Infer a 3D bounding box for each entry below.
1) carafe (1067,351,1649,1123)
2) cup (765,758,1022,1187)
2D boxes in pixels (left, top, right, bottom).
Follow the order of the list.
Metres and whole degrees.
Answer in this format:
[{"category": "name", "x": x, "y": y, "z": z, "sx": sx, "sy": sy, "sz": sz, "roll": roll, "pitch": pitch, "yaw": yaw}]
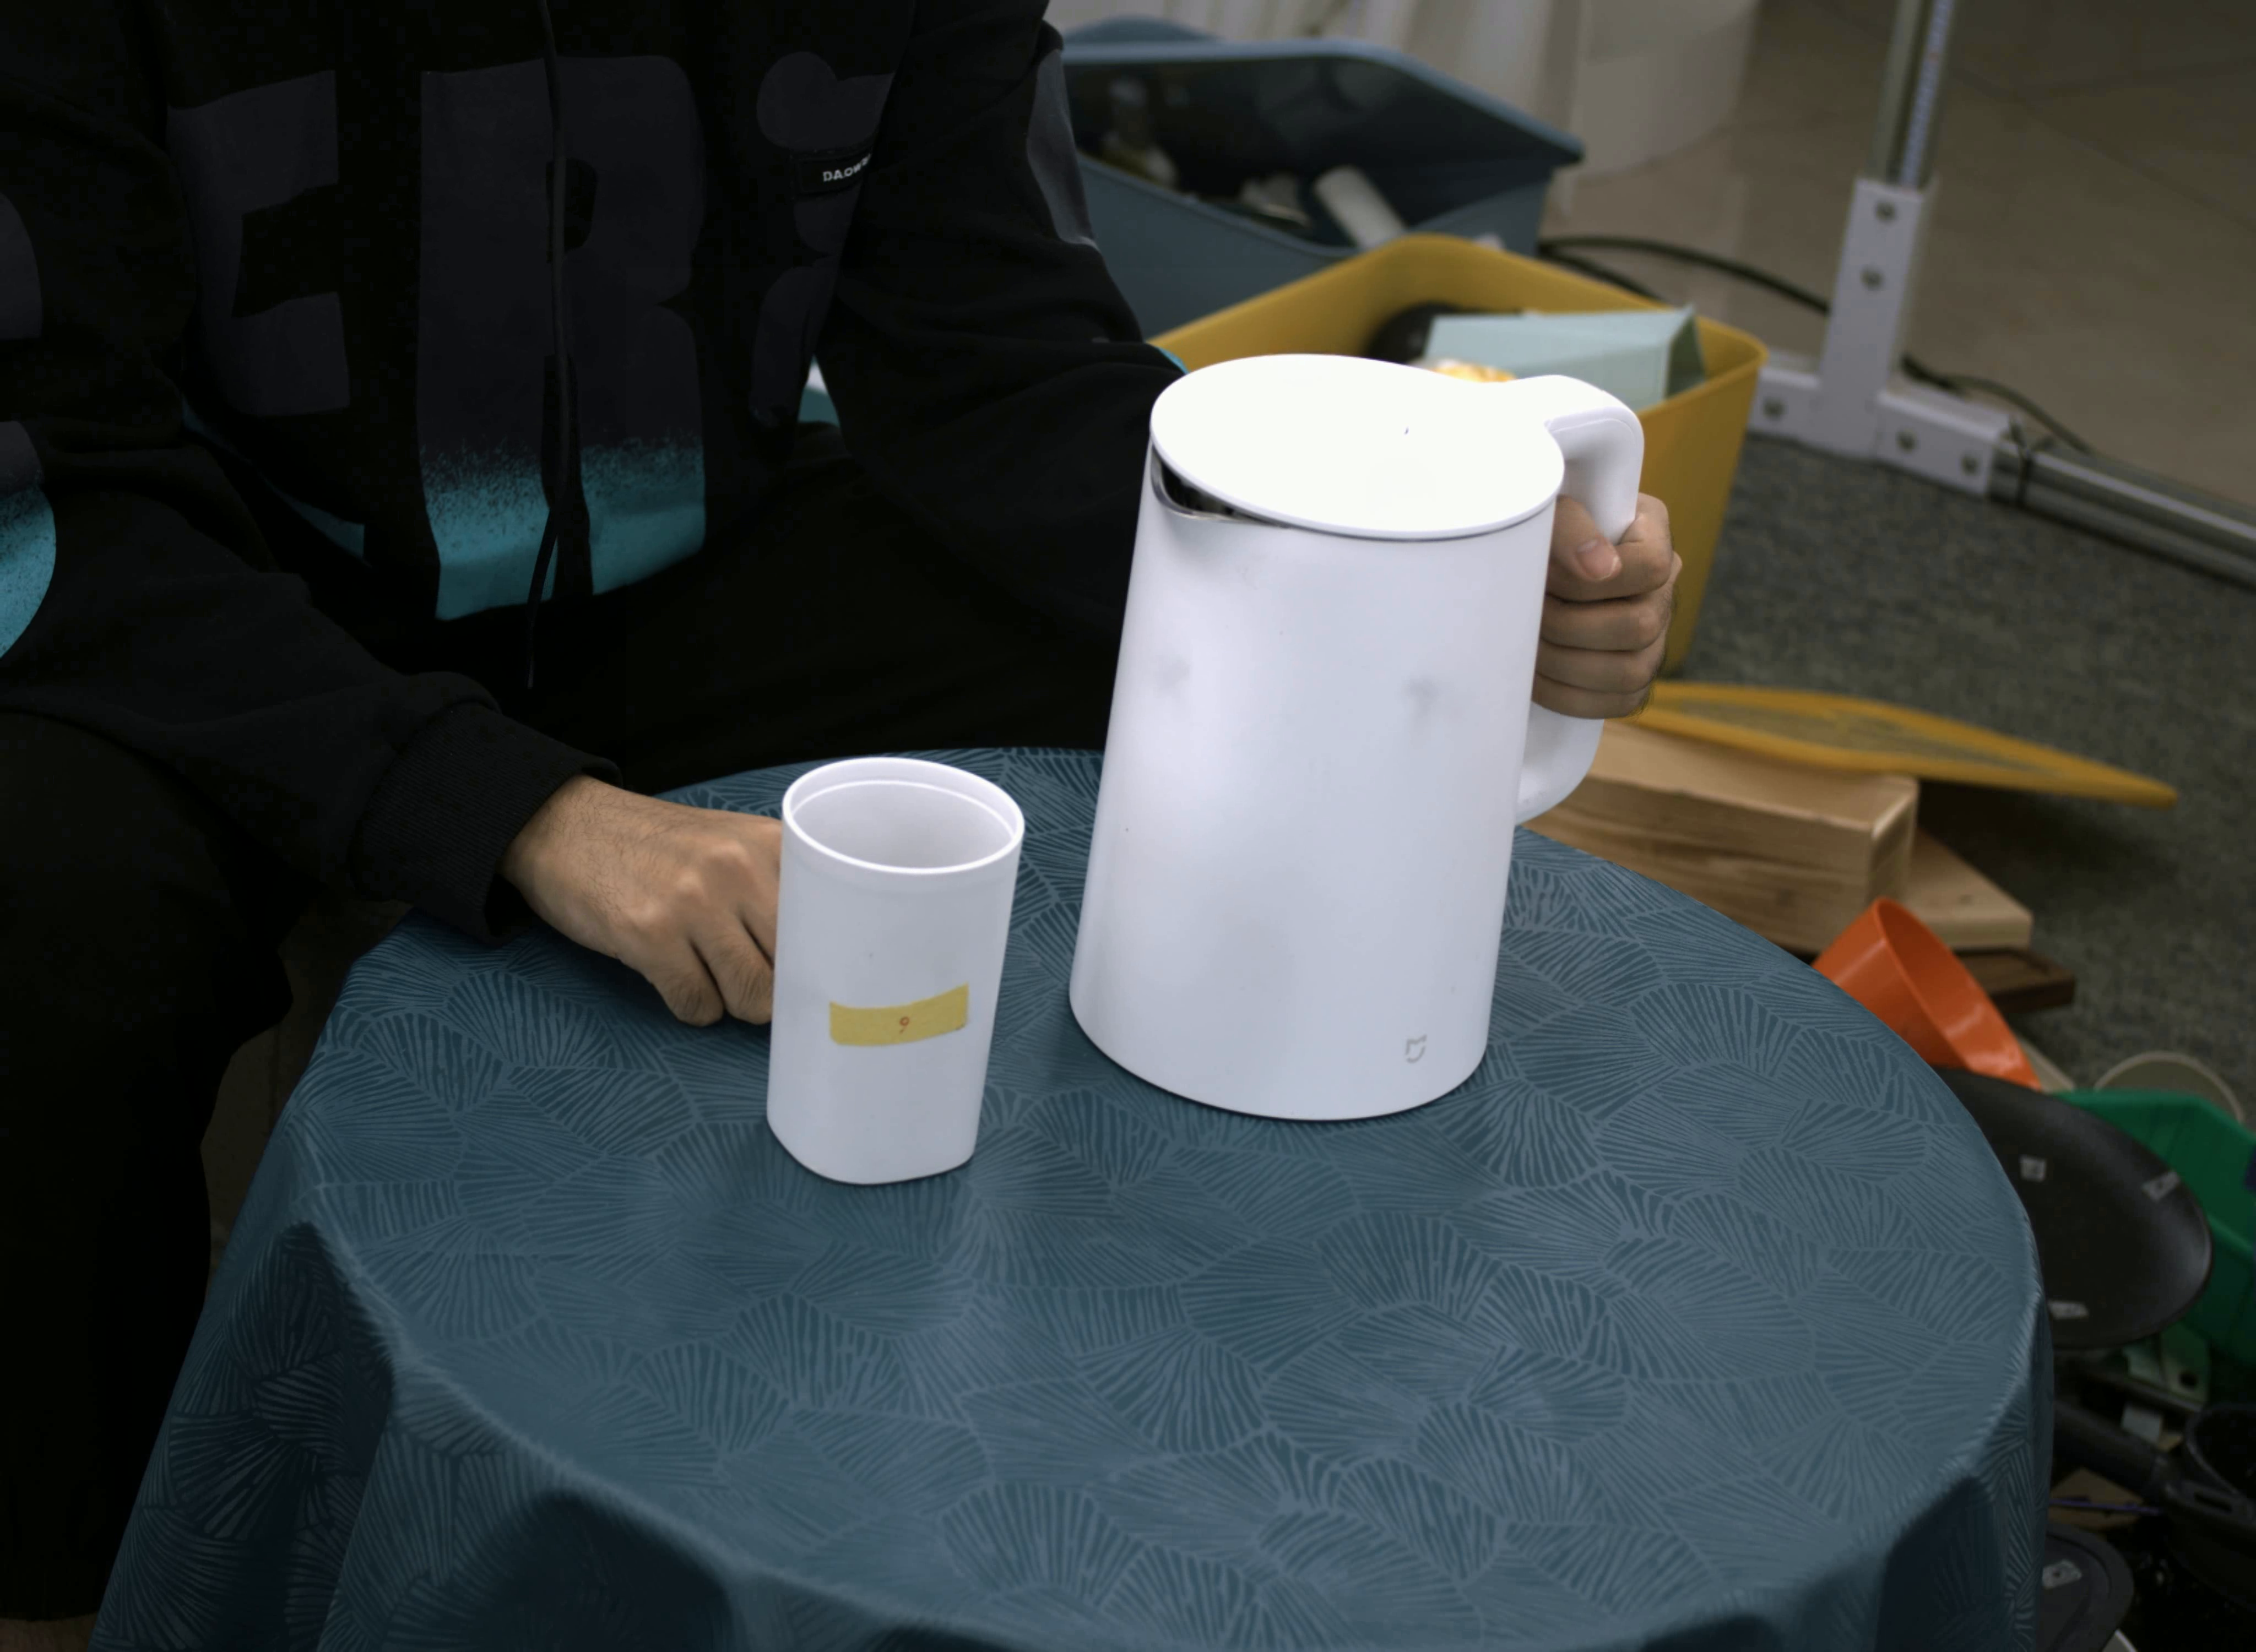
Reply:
[{"category": "carafe", "x": 0.087, "y": -0.038, "z": 1.880, "sx": 0.212, "sy": 0.239, "sz": 0.153, "roll": -15, "pitch": 35, "yaw": -35}, {"category": "cup", "x": -0.081, "y": 0.051, "z": 1.787, "sx": 0.081, "sy": 0.125, "sz": 0.082, "roll": 5, "pitch": 26, "yaw": -3}]
